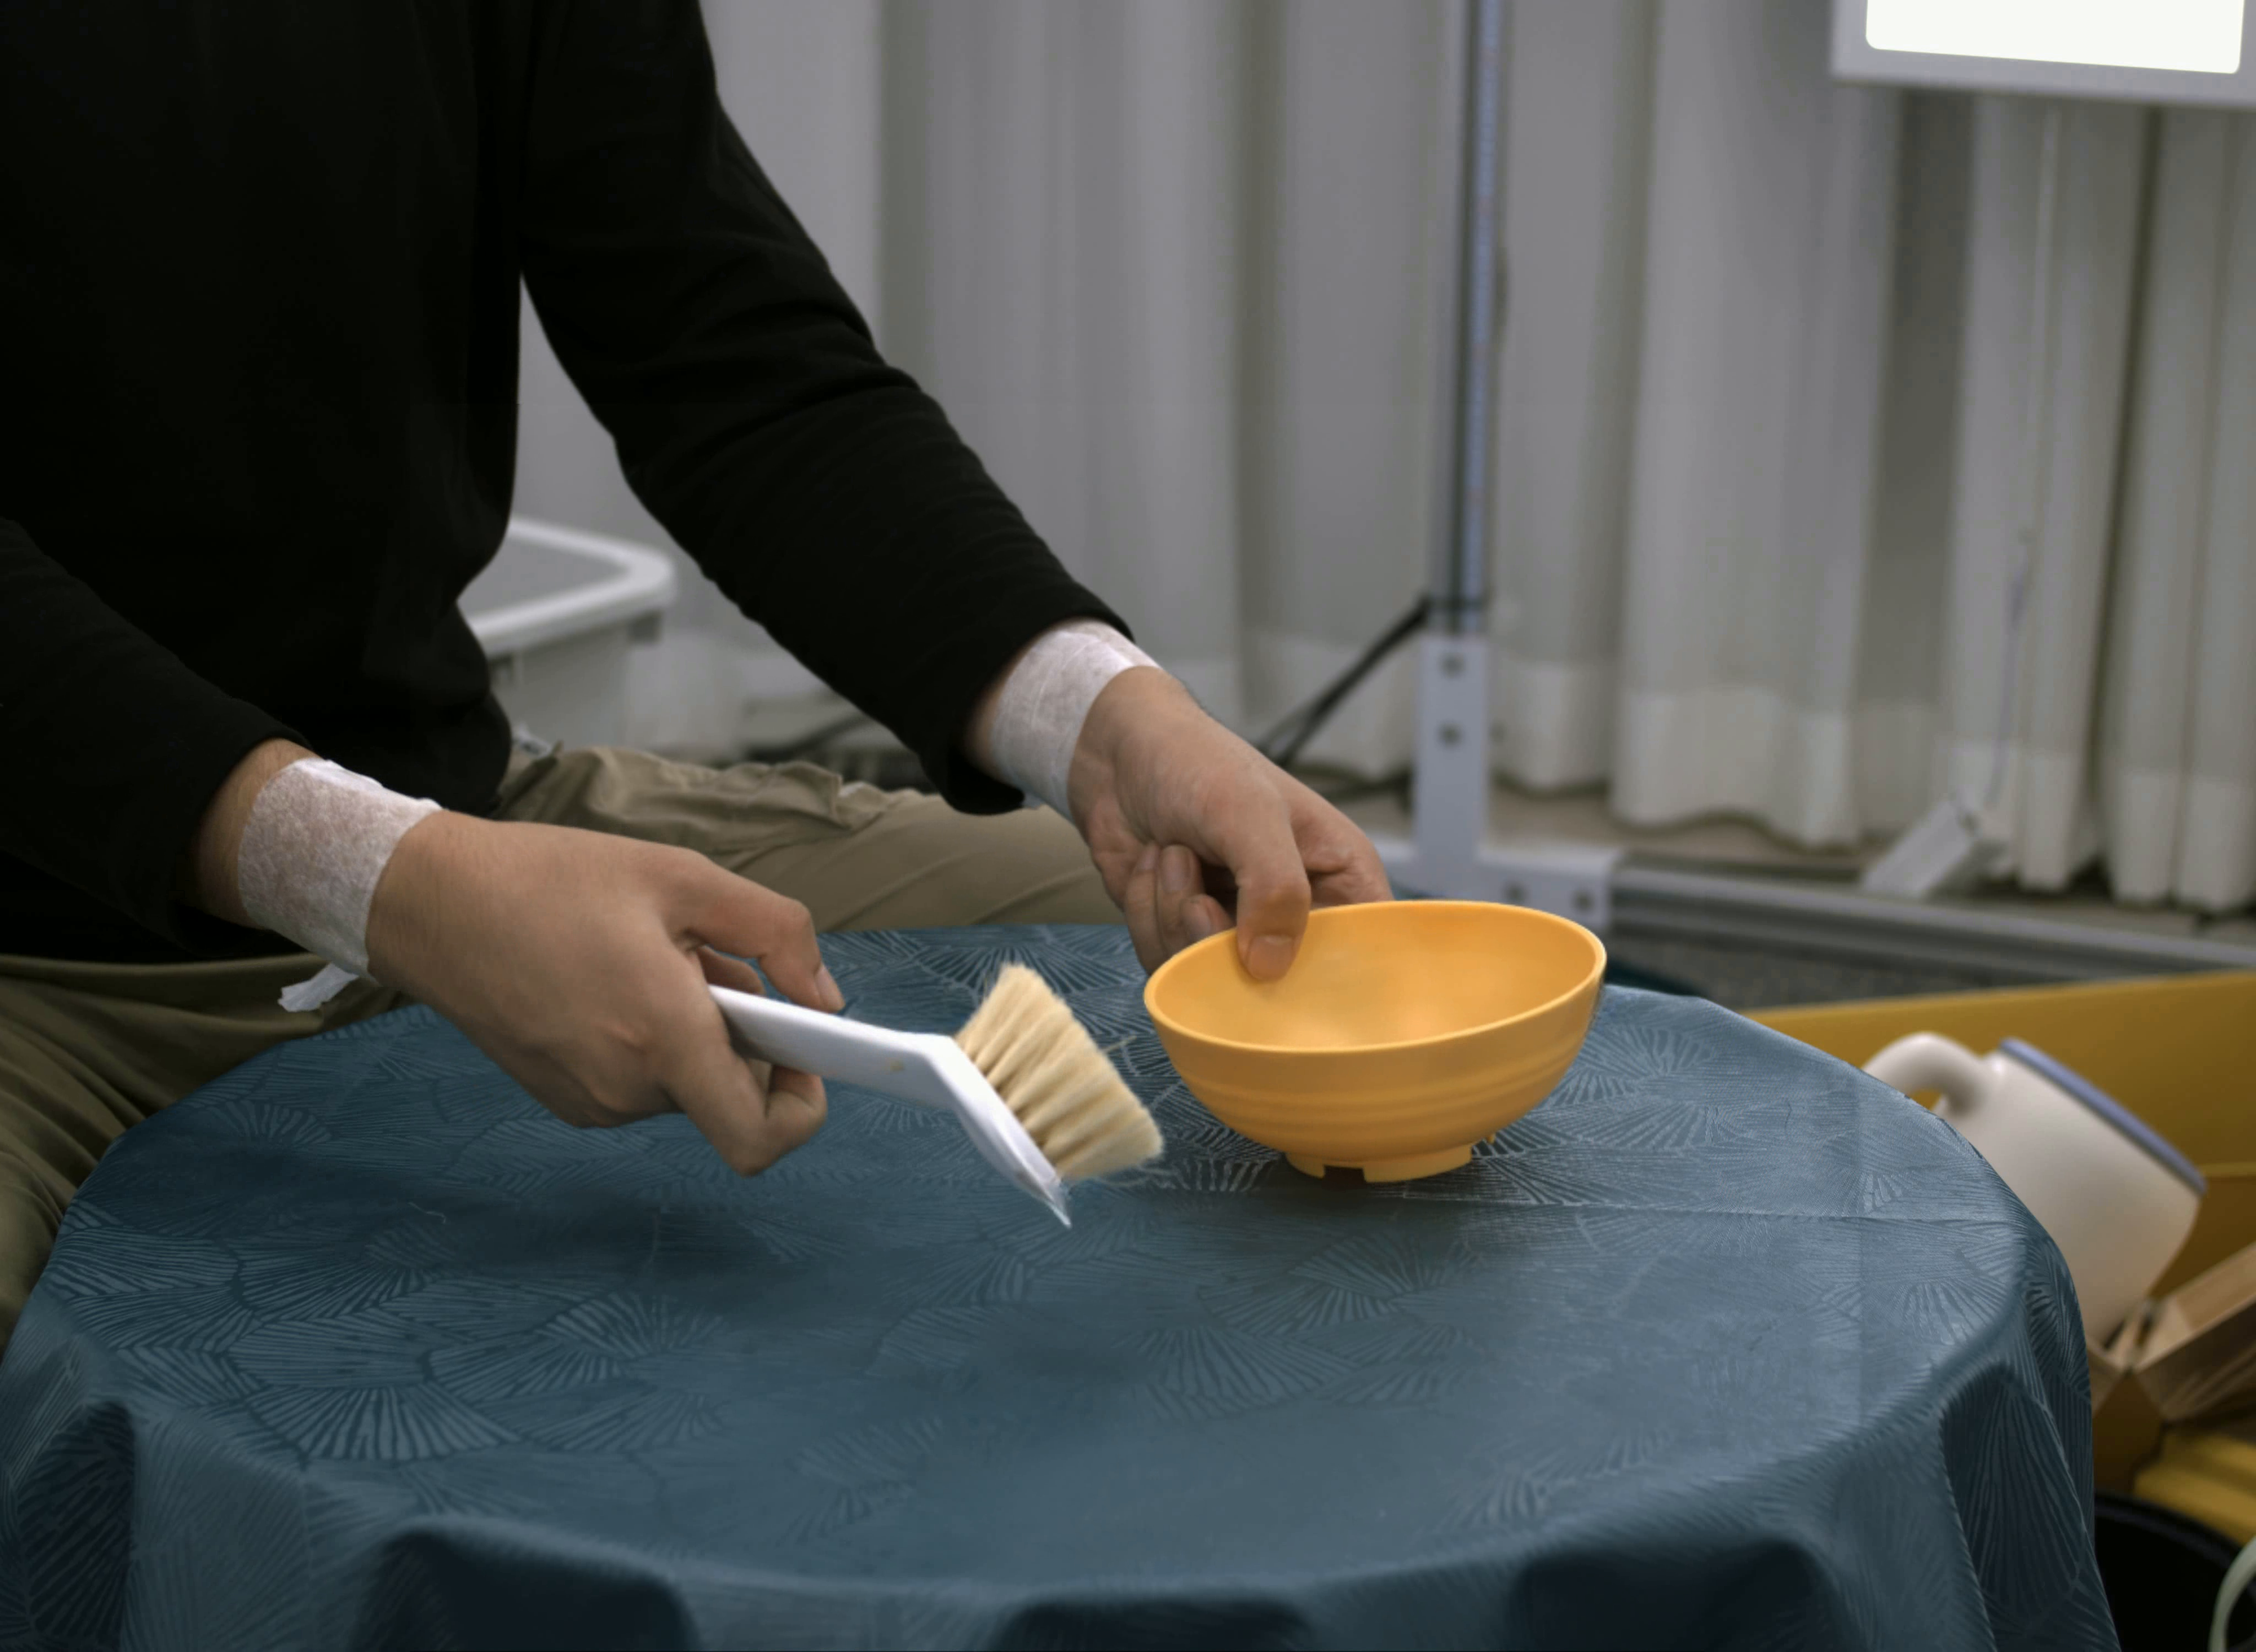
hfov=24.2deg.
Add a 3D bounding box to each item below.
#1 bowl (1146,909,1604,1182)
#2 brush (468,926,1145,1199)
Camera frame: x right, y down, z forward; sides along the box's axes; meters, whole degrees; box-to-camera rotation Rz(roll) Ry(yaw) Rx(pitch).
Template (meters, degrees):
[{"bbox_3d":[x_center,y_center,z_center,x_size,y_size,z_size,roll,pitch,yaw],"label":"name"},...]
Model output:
[{"bbox_3d":[0.079,0.073,1.644,0.145,0.060,0.144,-5,15,2],"label":"bowl"},{"bbox_3d":[-0.096,0.050,1.533,0.263,0.069,0.056,16,55,45],"label":"brush"}]
